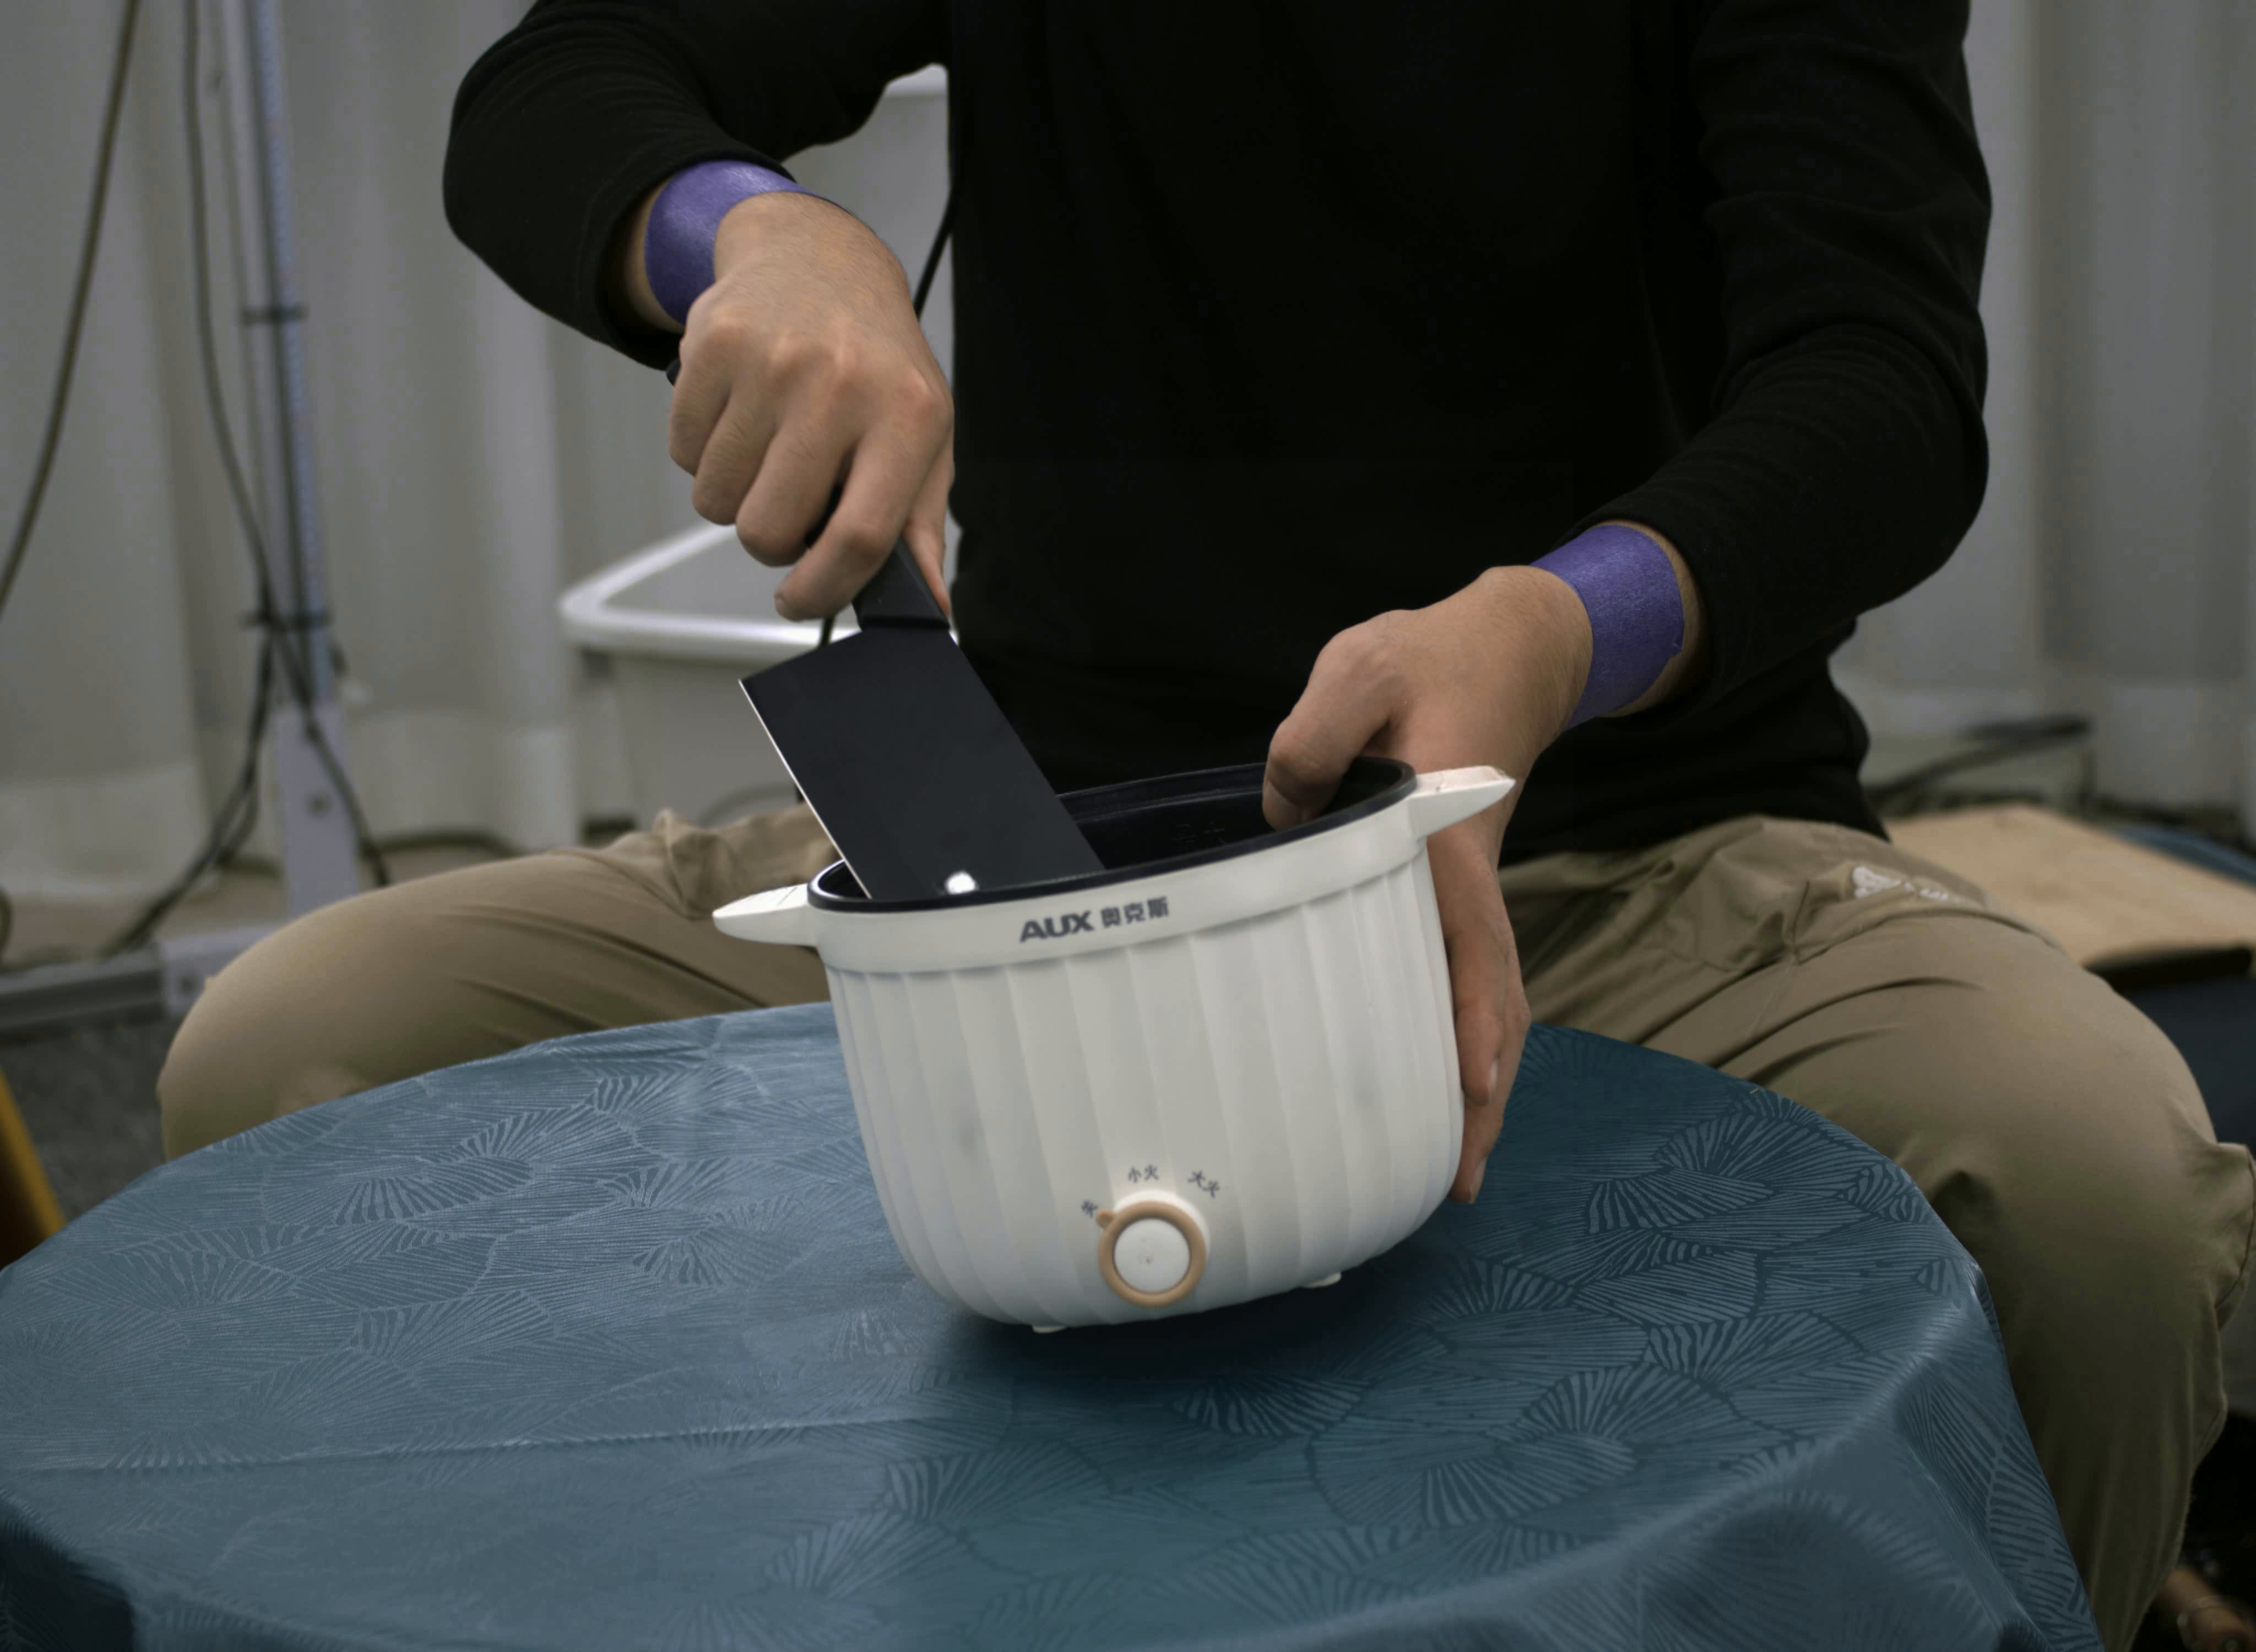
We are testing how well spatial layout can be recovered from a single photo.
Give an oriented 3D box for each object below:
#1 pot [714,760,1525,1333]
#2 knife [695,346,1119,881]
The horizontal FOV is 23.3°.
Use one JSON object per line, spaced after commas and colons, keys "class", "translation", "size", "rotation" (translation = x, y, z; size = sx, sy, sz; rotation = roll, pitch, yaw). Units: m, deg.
{"class": "pot", "translation": [0.008, 0.065, 1.591], "size": [0.240, 0.143, 0.191], "rotation": [-11, 4, 6]}
{"class": "knife", "translation": [-0.061, -0.036, 1.643], "size": [0.081, 0.020, 0.306], "rotation": [-18, 55, -17]}
